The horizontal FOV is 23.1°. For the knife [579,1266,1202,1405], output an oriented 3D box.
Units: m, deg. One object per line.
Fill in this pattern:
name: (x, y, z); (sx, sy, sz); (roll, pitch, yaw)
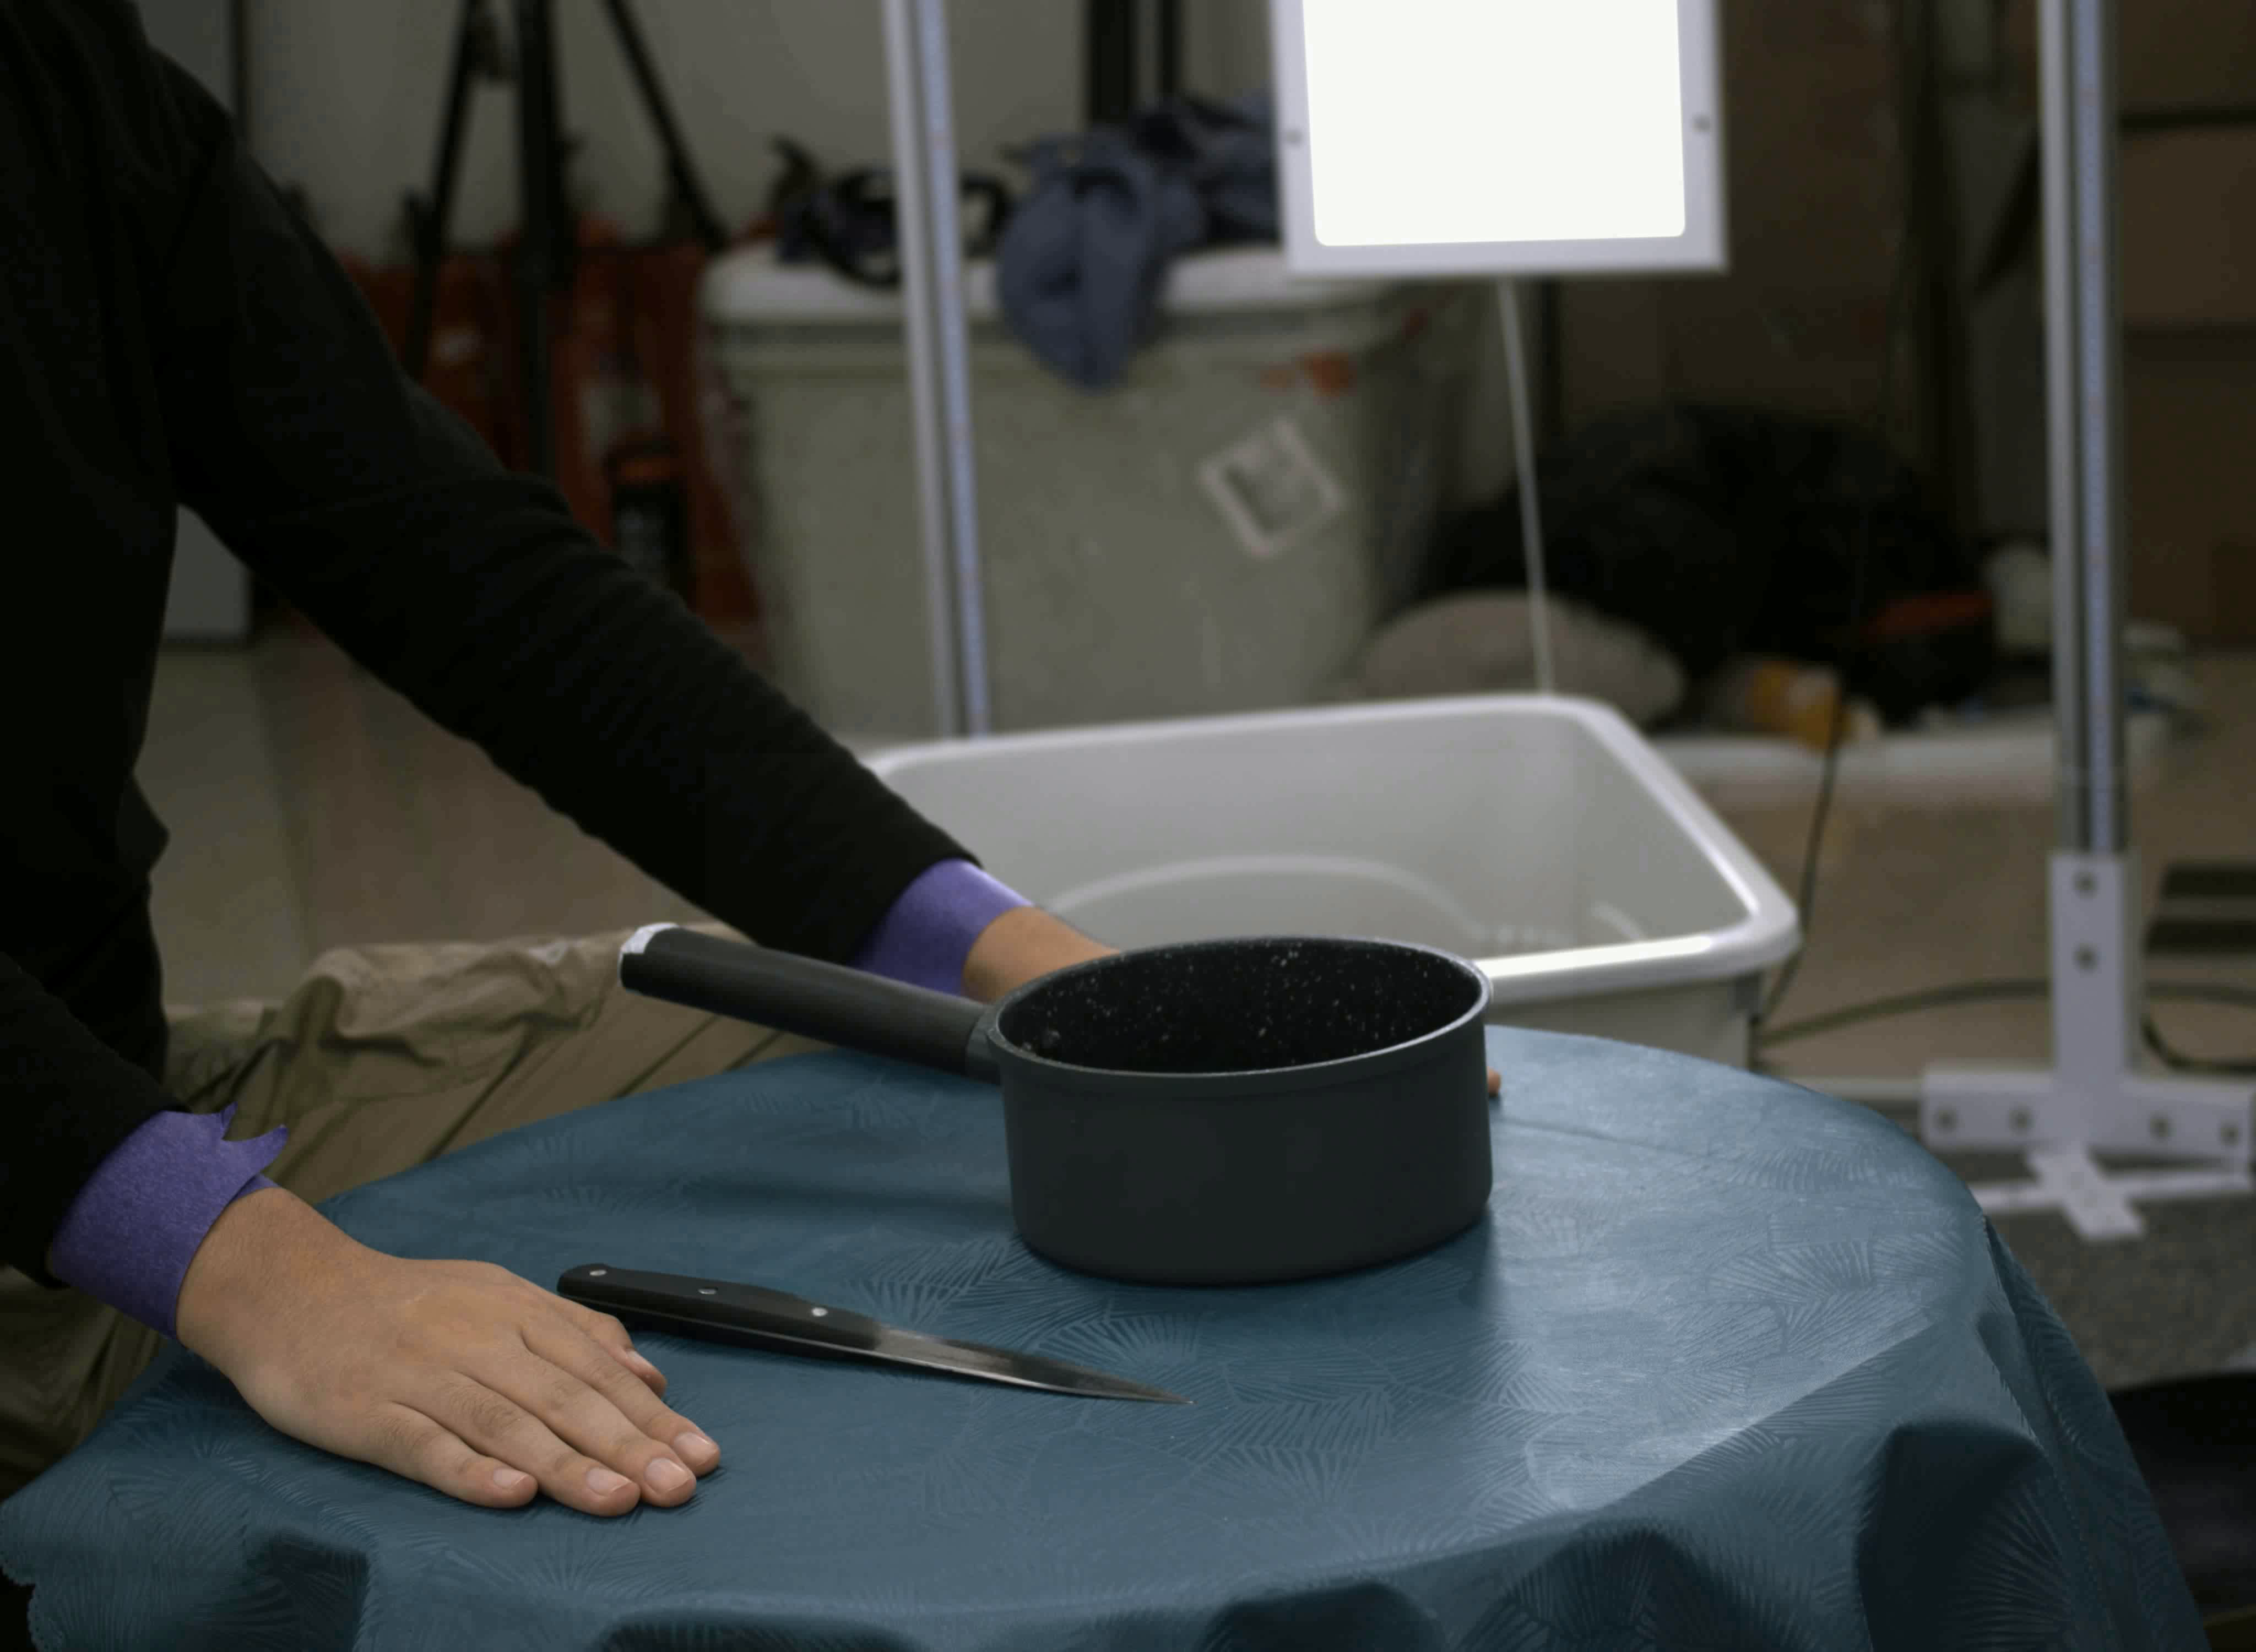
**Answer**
knife: (-0.080, 0.165, 1.752); (0.243, 0.016, 0.024); (7, 15, 32)

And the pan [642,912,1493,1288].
pan: (-0.028, 0.087, 1.896); (0.335, 0.087, 0.168); (5, 17, 33)
